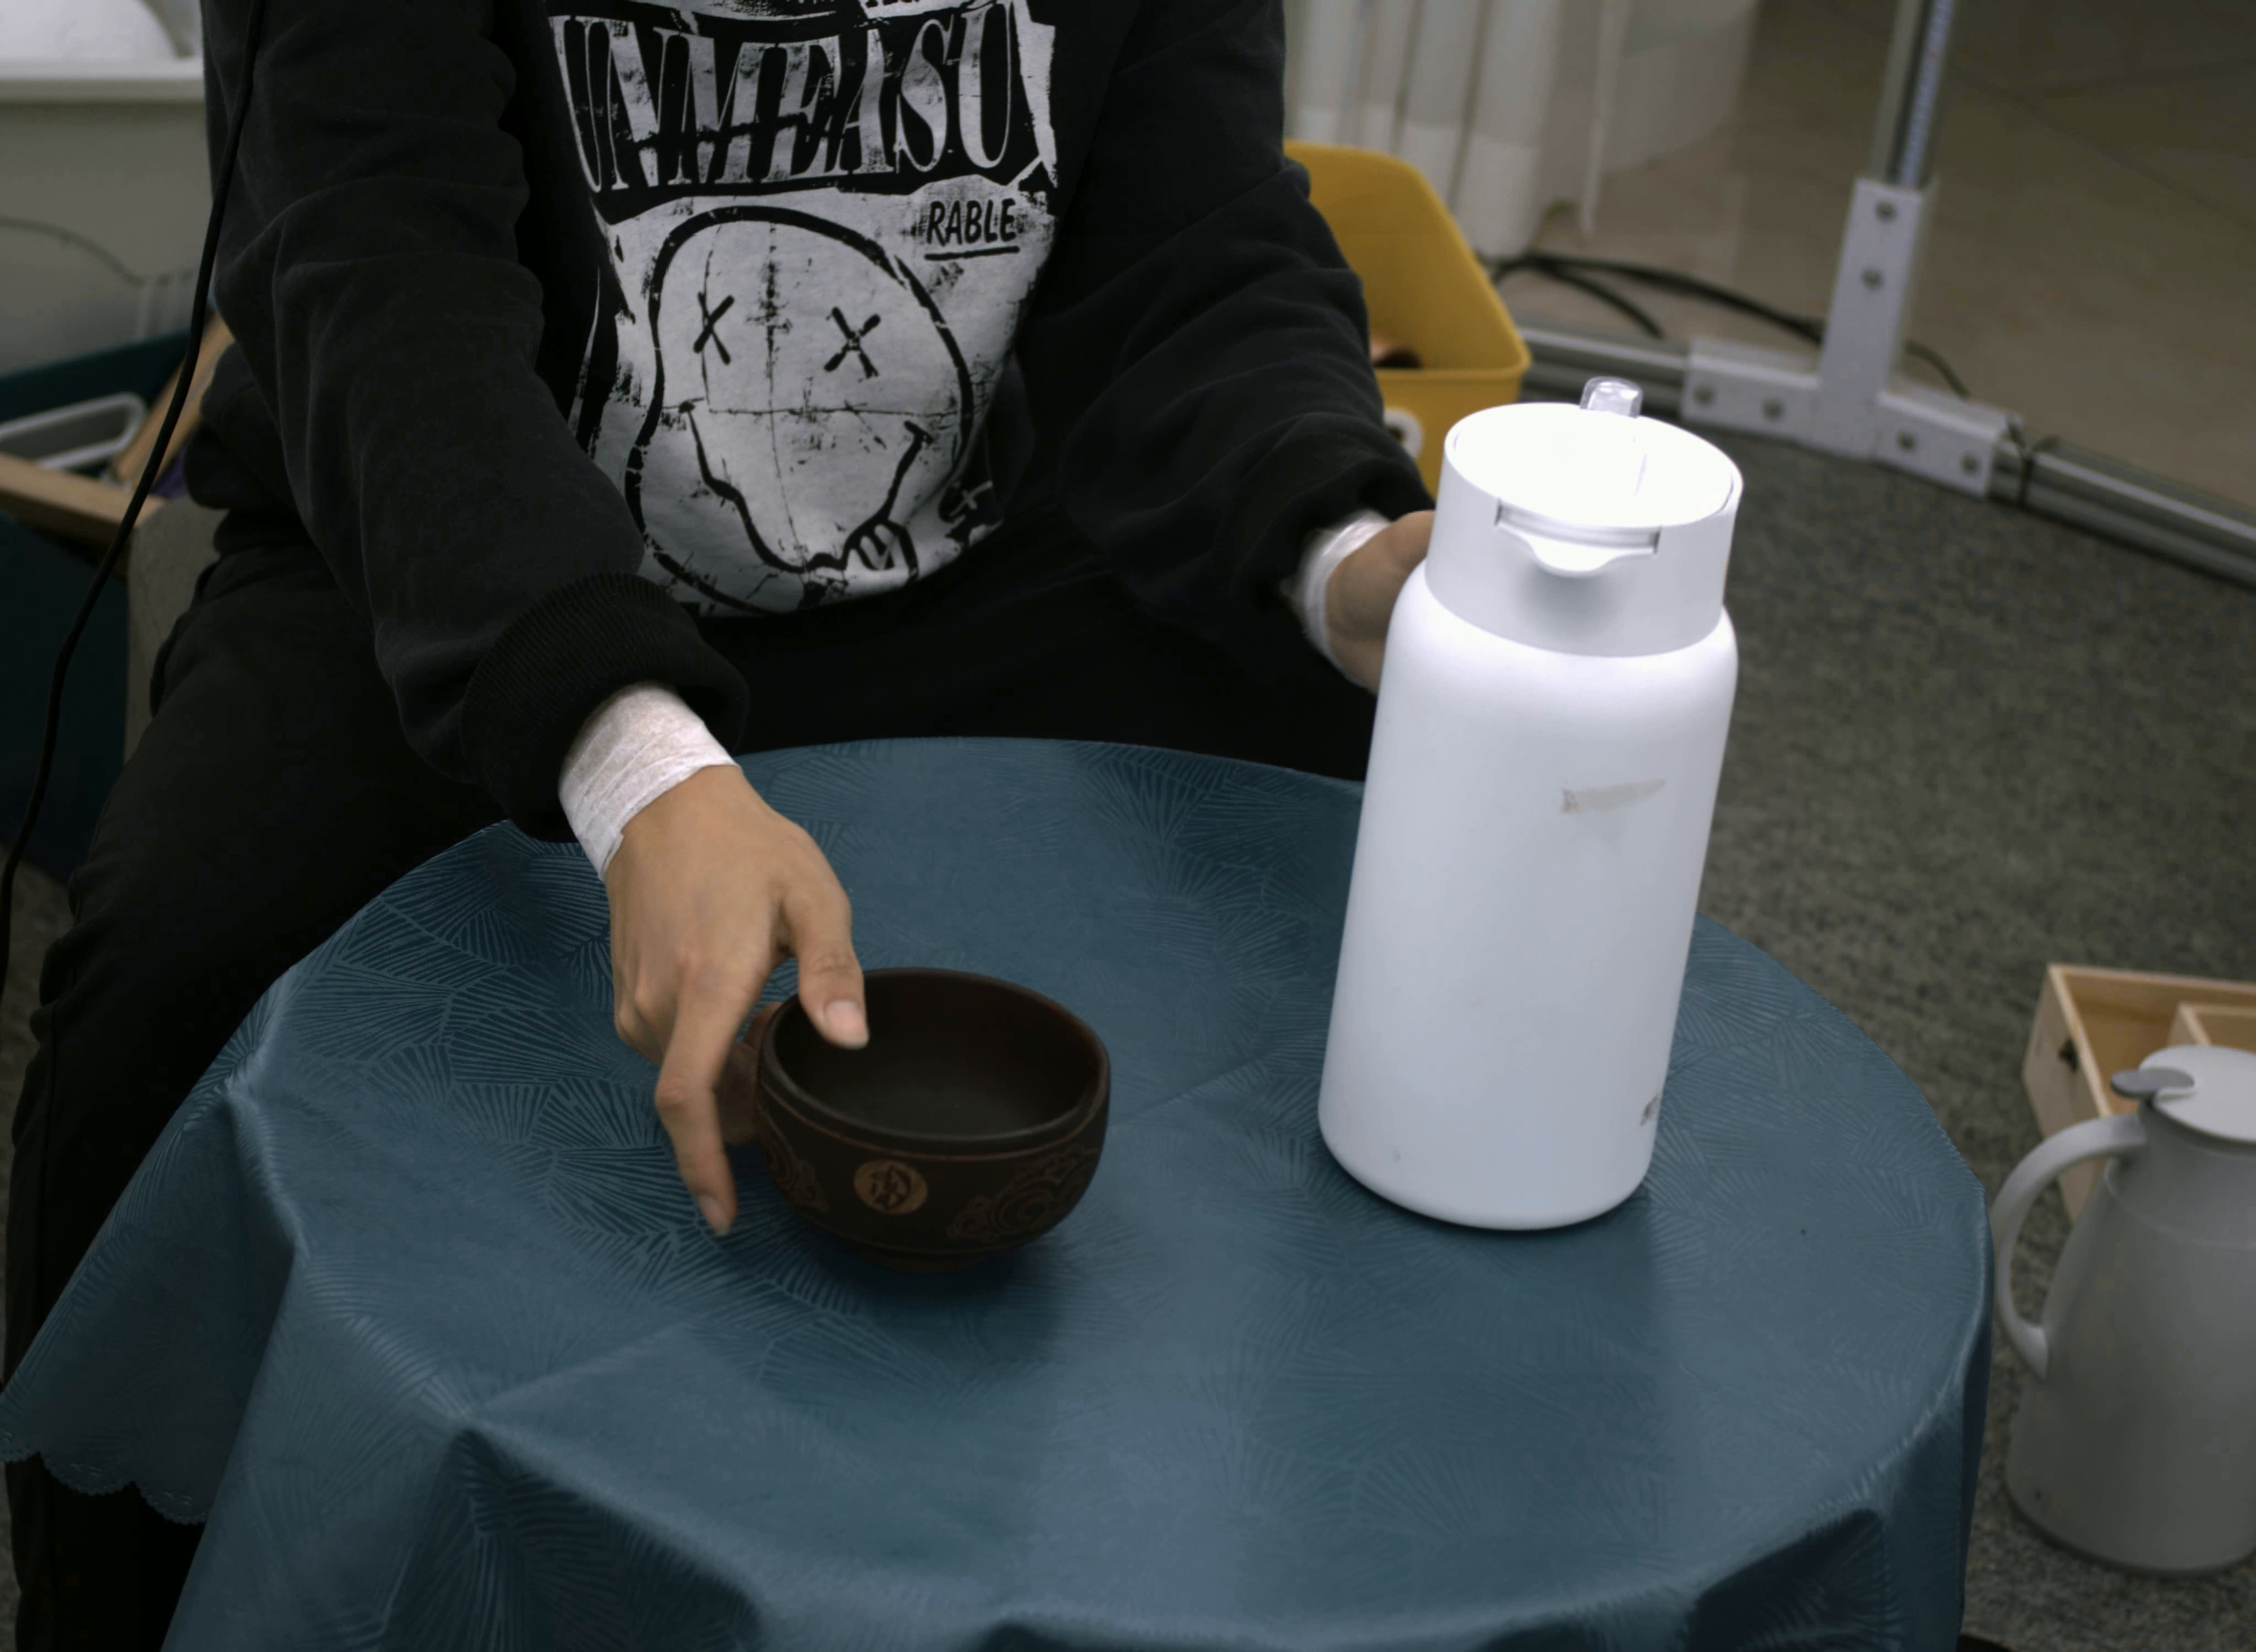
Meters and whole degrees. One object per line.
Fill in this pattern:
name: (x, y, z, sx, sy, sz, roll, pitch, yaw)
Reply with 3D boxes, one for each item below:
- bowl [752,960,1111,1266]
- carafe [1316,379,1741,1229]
bowl: (-0.066, 0.101, 1.753, 0.117, 0.069, 0.119, 5, 26, -3)
carafe: (0.138, -0.011, 1.808, 0.124, 0.268, 0.173, 8, 27, 6)
